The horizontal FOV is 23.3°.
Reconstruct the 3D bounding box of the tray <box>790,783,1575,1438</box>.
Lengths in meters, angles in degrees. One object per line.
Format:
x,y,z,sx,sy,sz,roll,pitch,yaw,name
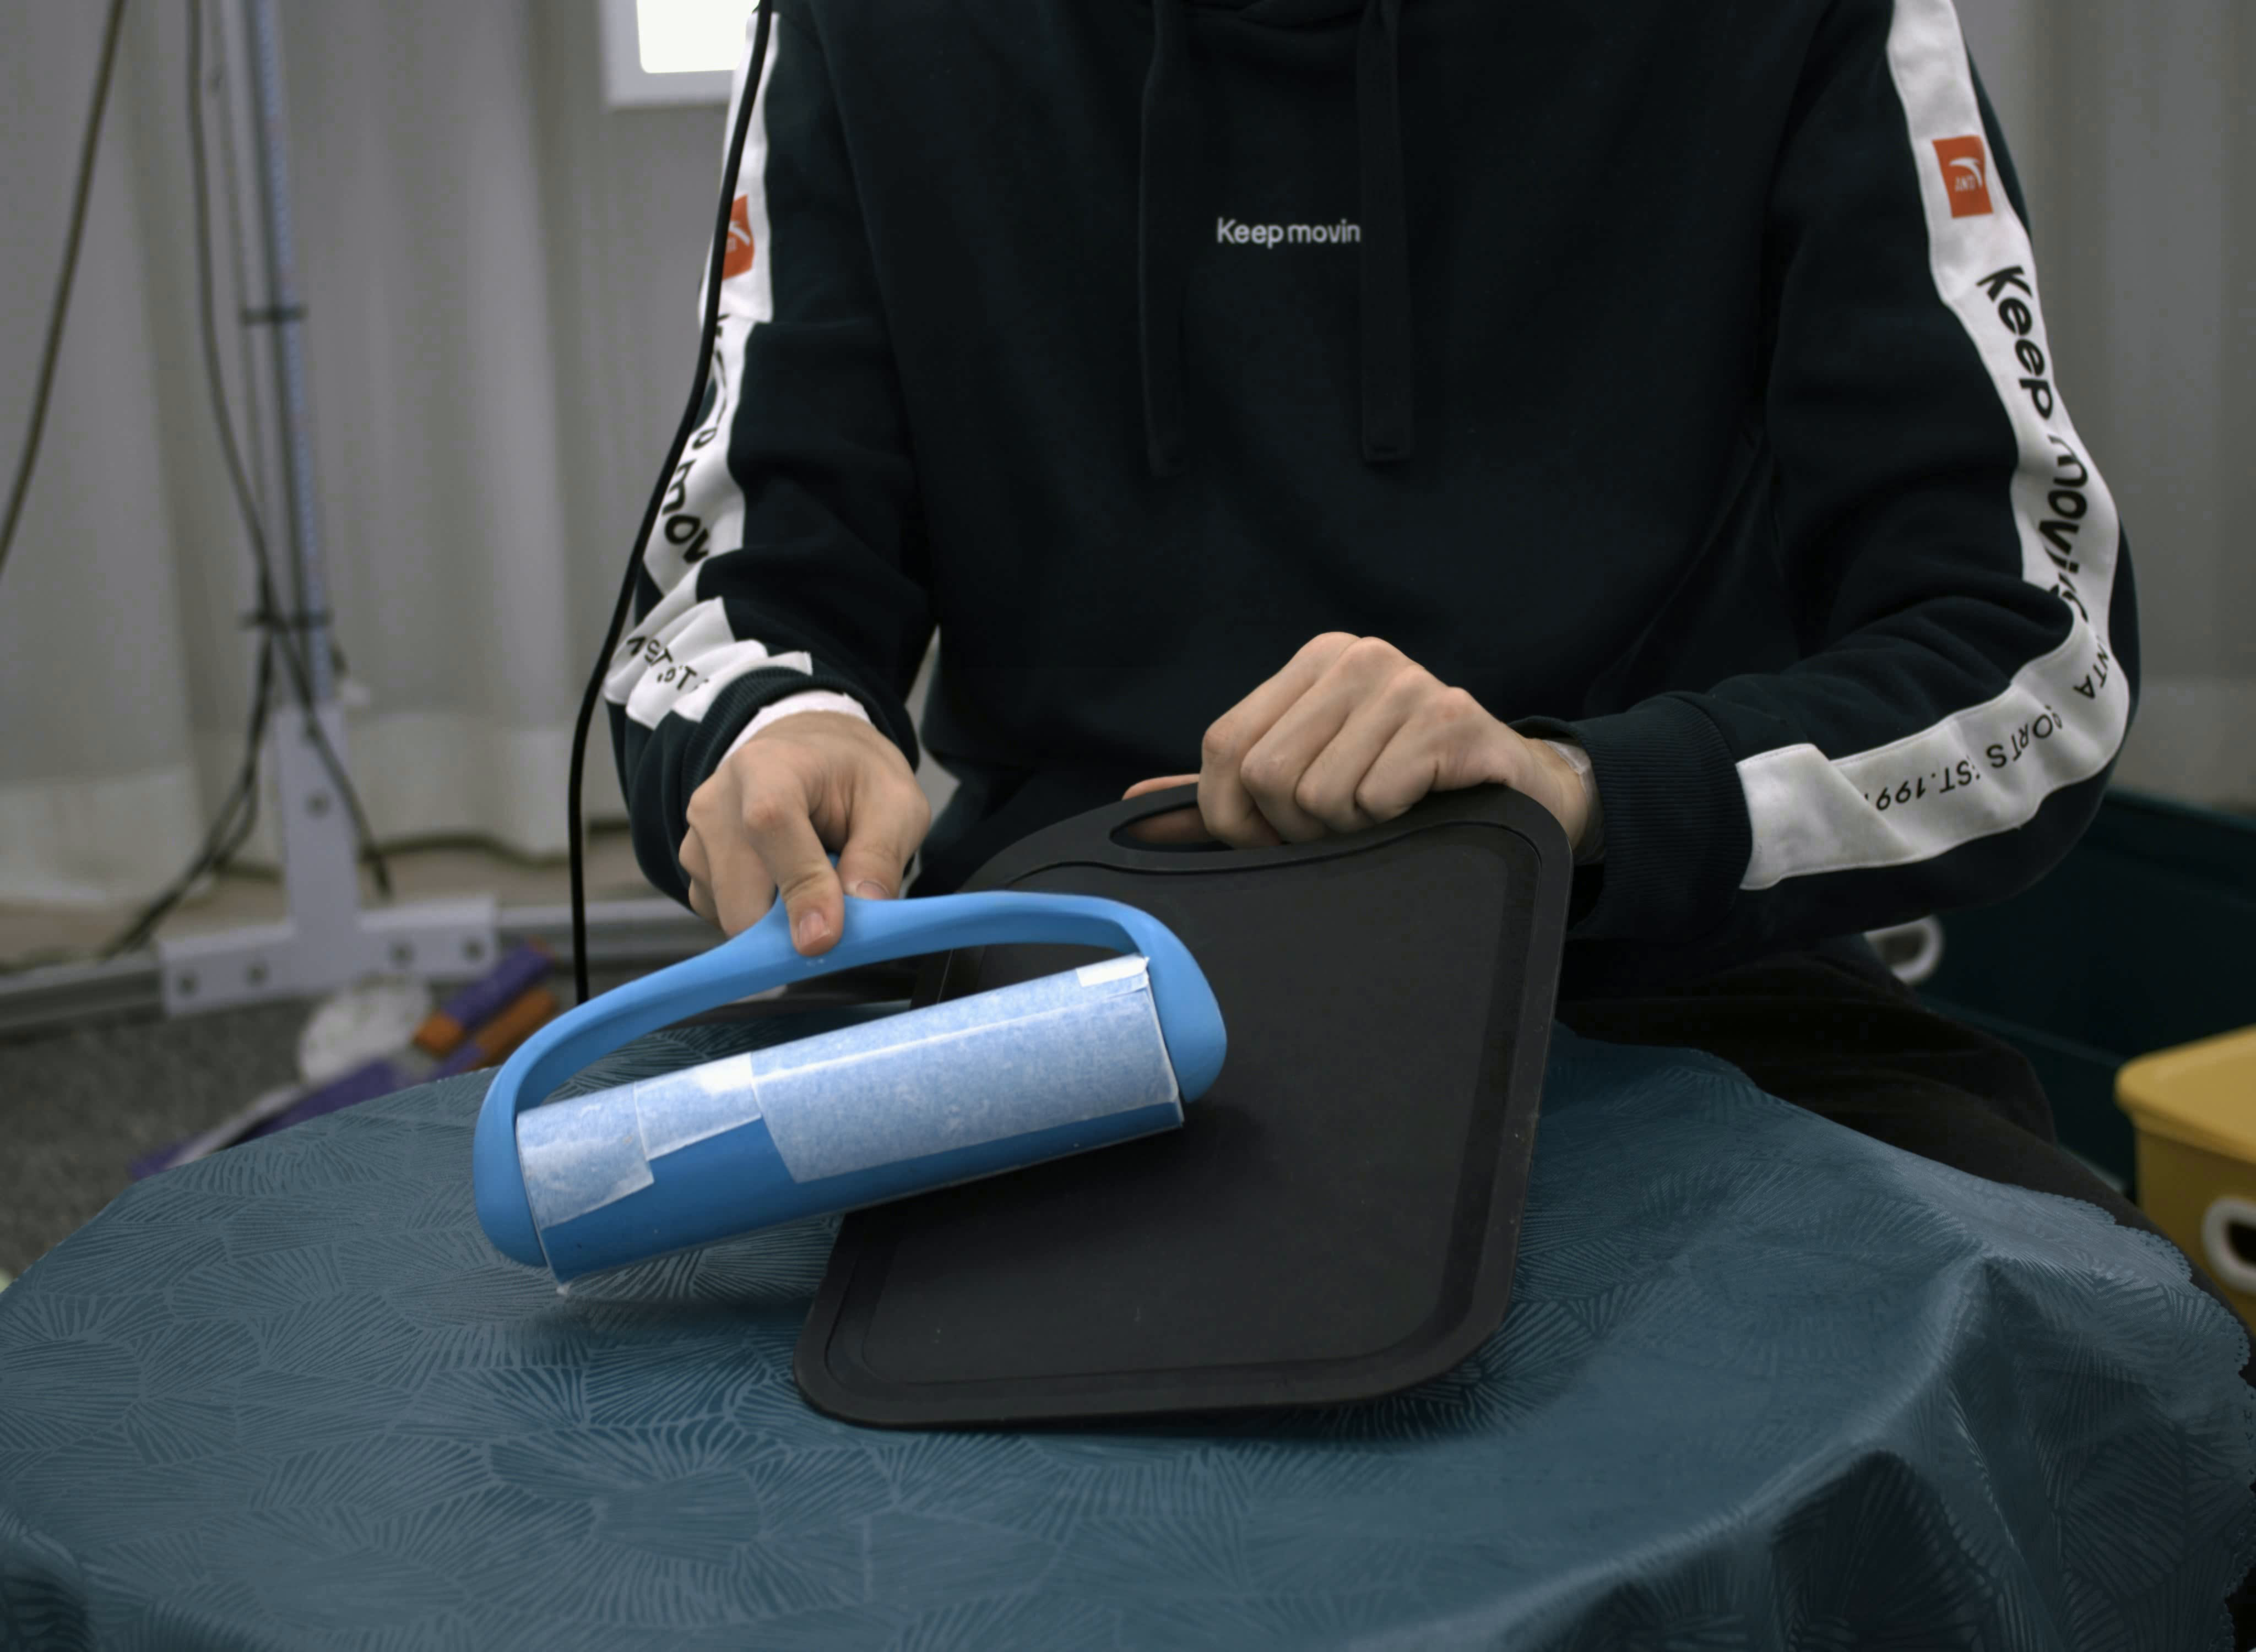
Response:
0.022,0.076,1.643,0.211,0.009,0.329,-5,32,14,tray

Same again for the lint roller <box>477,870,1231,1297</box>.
-0.092,0.054,1.667,0.228,0.067,0.183,-17,36,-1,lint roller
